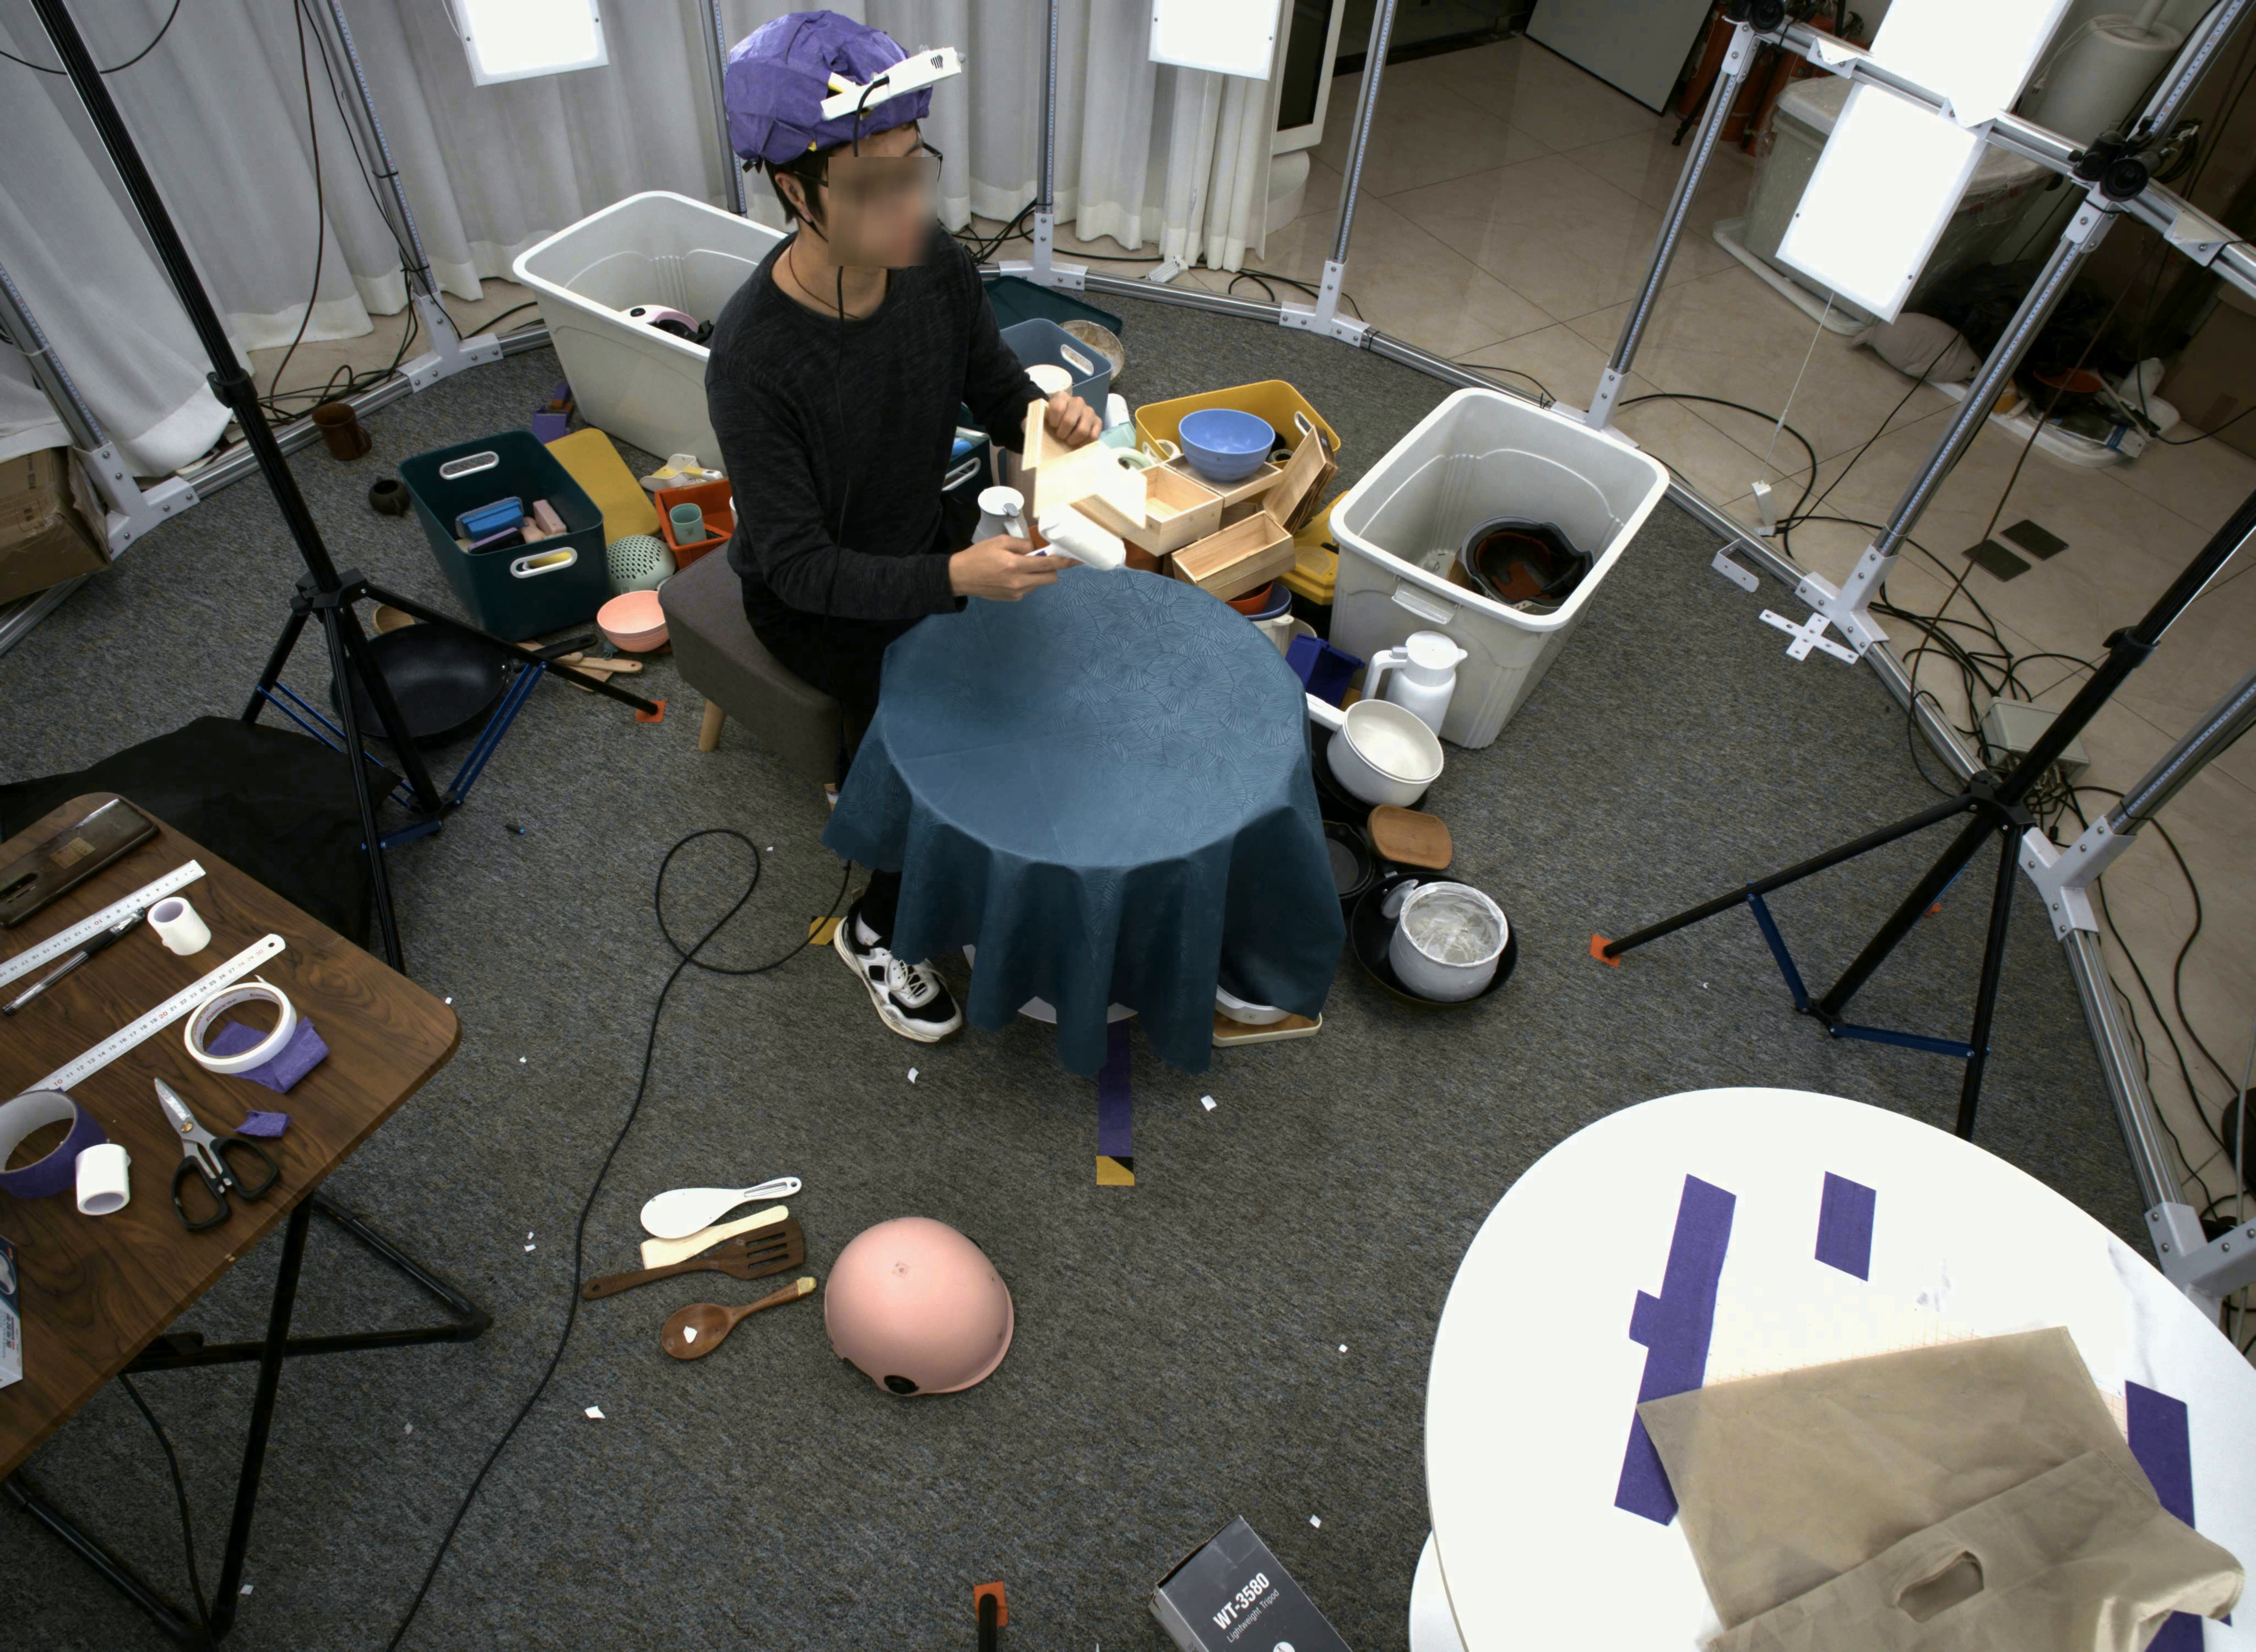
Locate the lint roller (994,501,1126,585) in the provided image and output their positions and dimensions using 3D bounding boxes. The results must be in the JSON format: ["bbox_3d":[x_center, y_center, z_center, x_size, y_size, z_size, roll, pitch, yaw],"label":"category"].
[{"bbox_3d":[-0.104,-0.338,1.636,0.179,0.131,0.051,-26,59,31],"label":"lint roller"}]

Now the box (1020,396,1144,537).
[{"bbox_3d":[-0.056,-0.465,1.656,0.134,0.101,0.187,-13,64,35],"label":"box"}]
